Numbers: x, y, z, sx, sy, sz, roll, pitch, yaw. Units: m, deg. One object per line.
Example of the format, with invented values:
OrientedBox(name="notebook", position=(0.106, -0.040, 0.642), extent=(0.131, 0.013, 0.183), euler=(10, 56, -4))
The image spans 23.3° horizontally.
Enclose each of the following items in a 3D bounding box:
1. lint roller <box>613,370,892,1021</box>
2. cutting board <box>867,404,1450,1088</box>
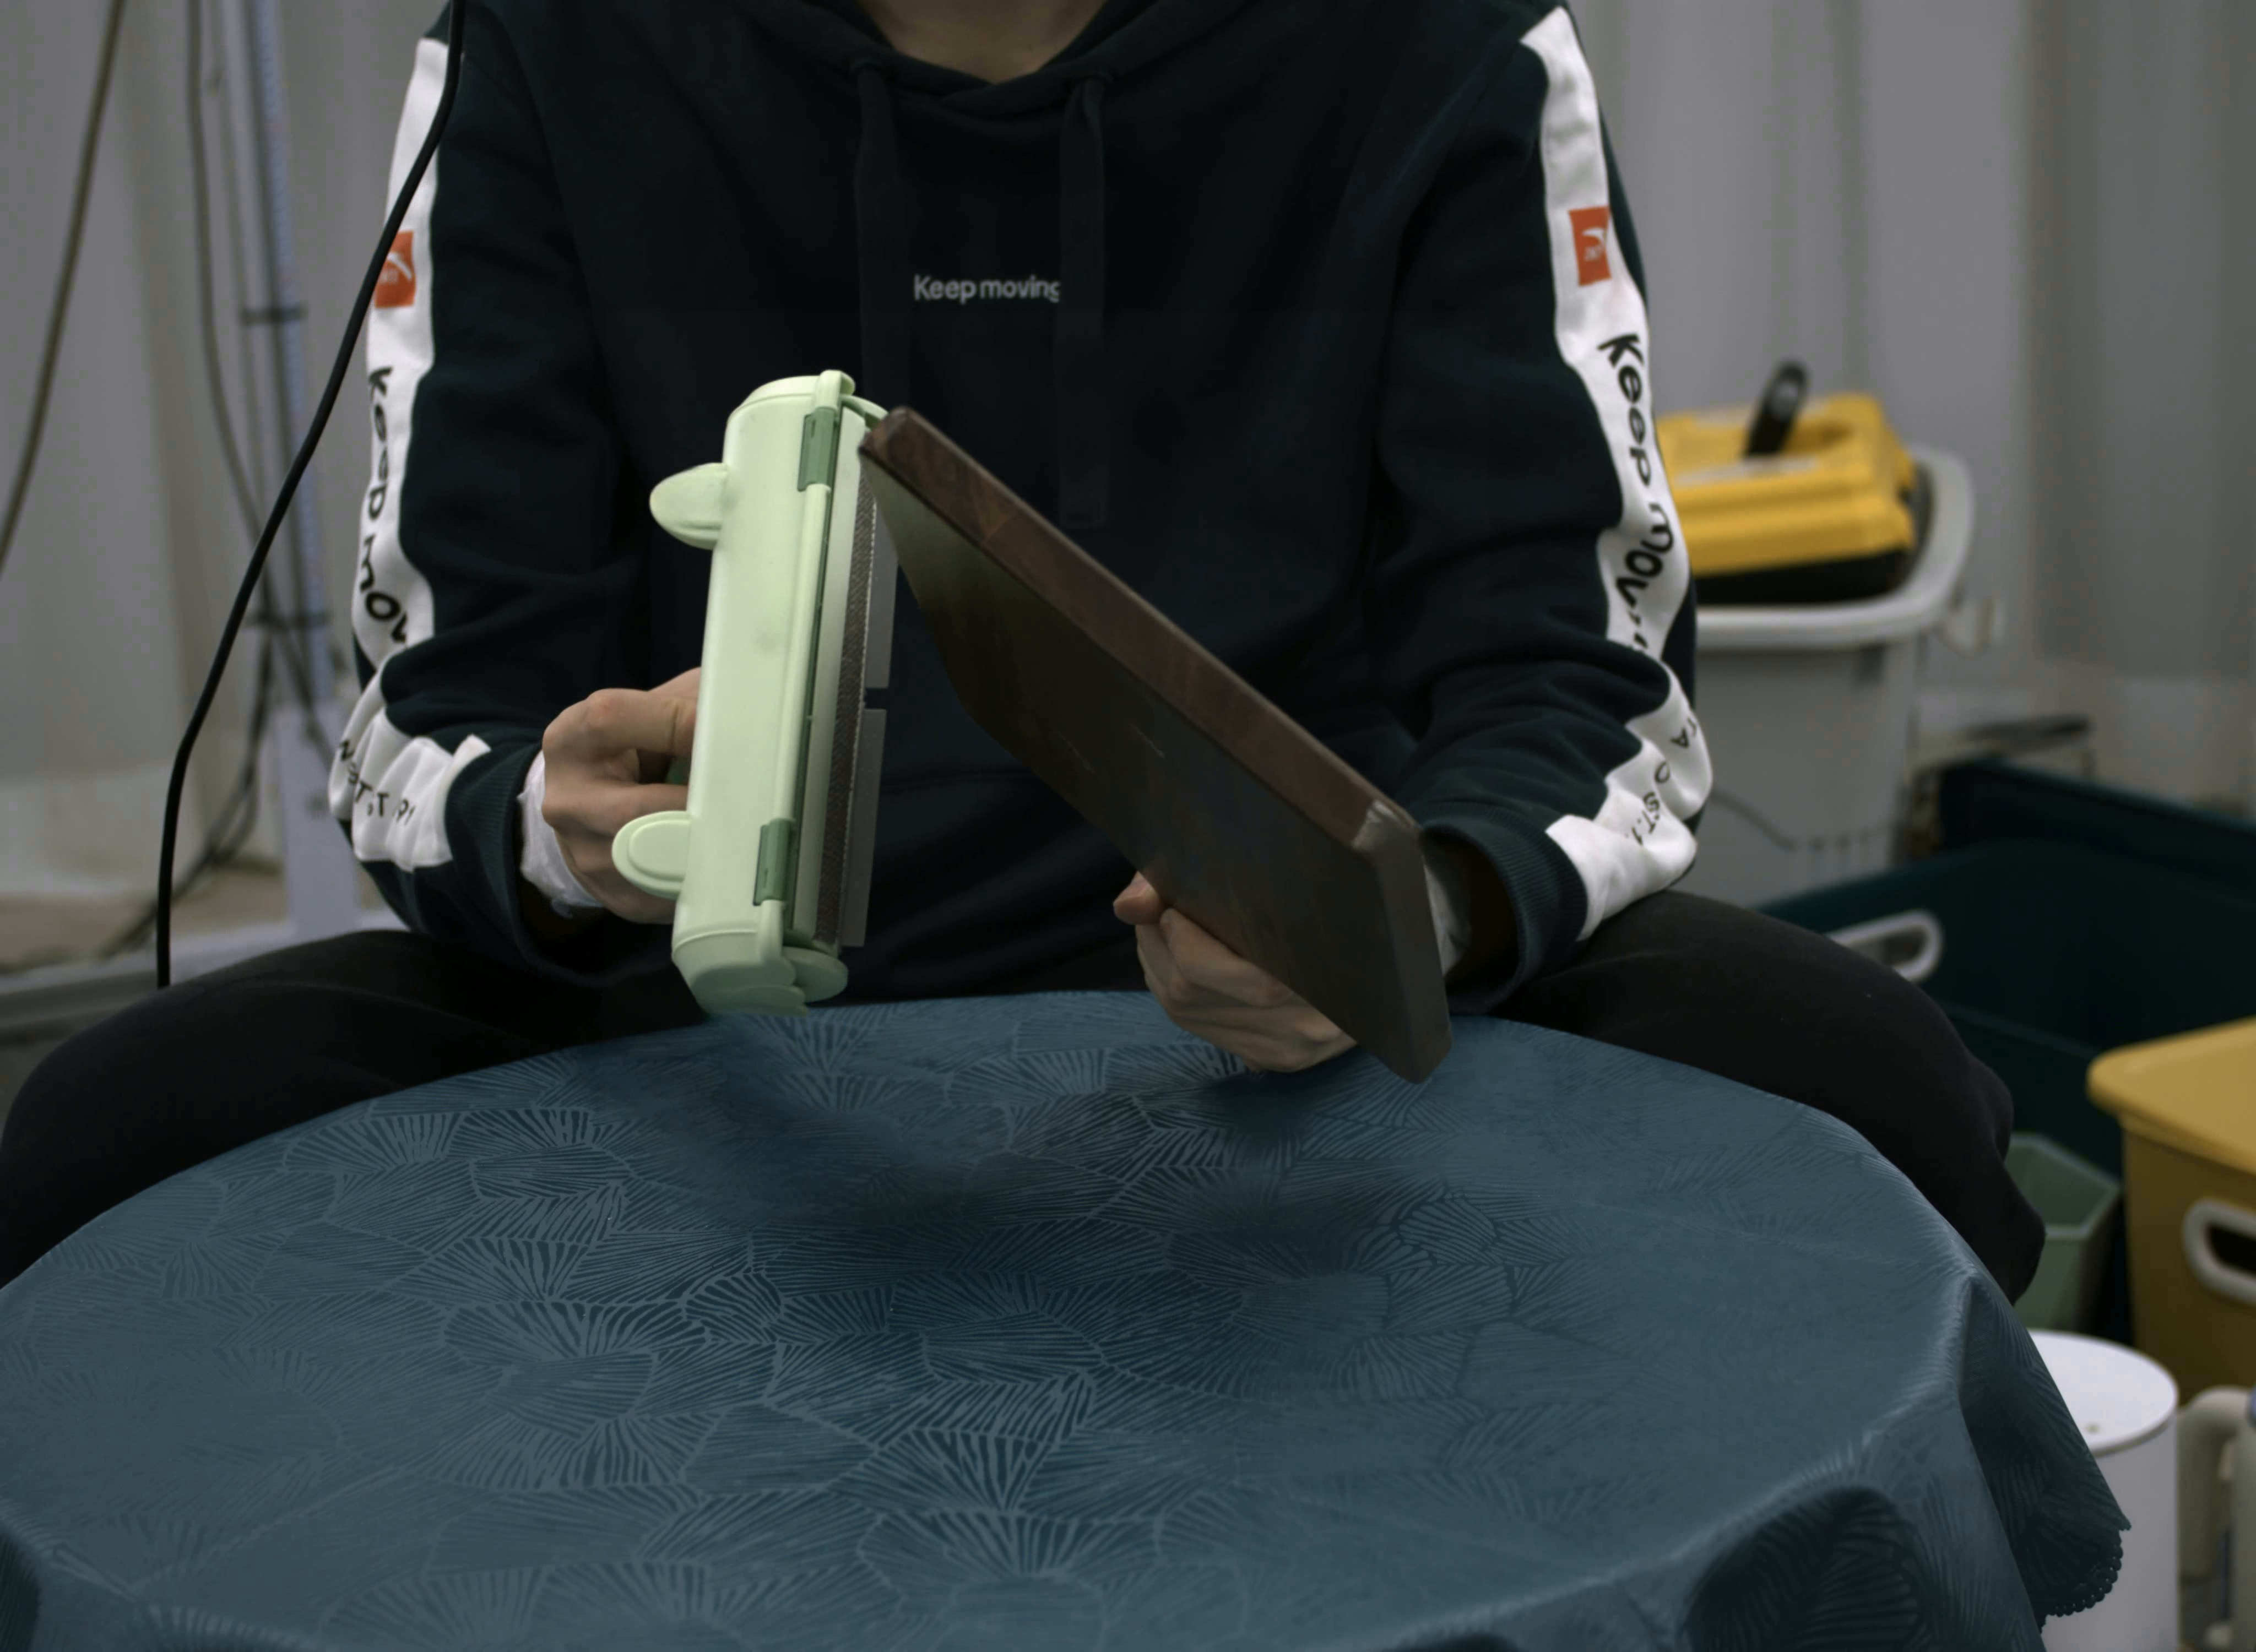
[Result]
OrientedBox(name="lint roller", position=(-0.137, -0.026, 1.727), extent=(0.081, 0.201, 0.182), euler=(14, -23, -24))
OrientedBox(name="cutting board", position=(0.017, -0.004, 1.658), extent=(0.202, 0.023, 0.349), euler=(40, -10, 15))
